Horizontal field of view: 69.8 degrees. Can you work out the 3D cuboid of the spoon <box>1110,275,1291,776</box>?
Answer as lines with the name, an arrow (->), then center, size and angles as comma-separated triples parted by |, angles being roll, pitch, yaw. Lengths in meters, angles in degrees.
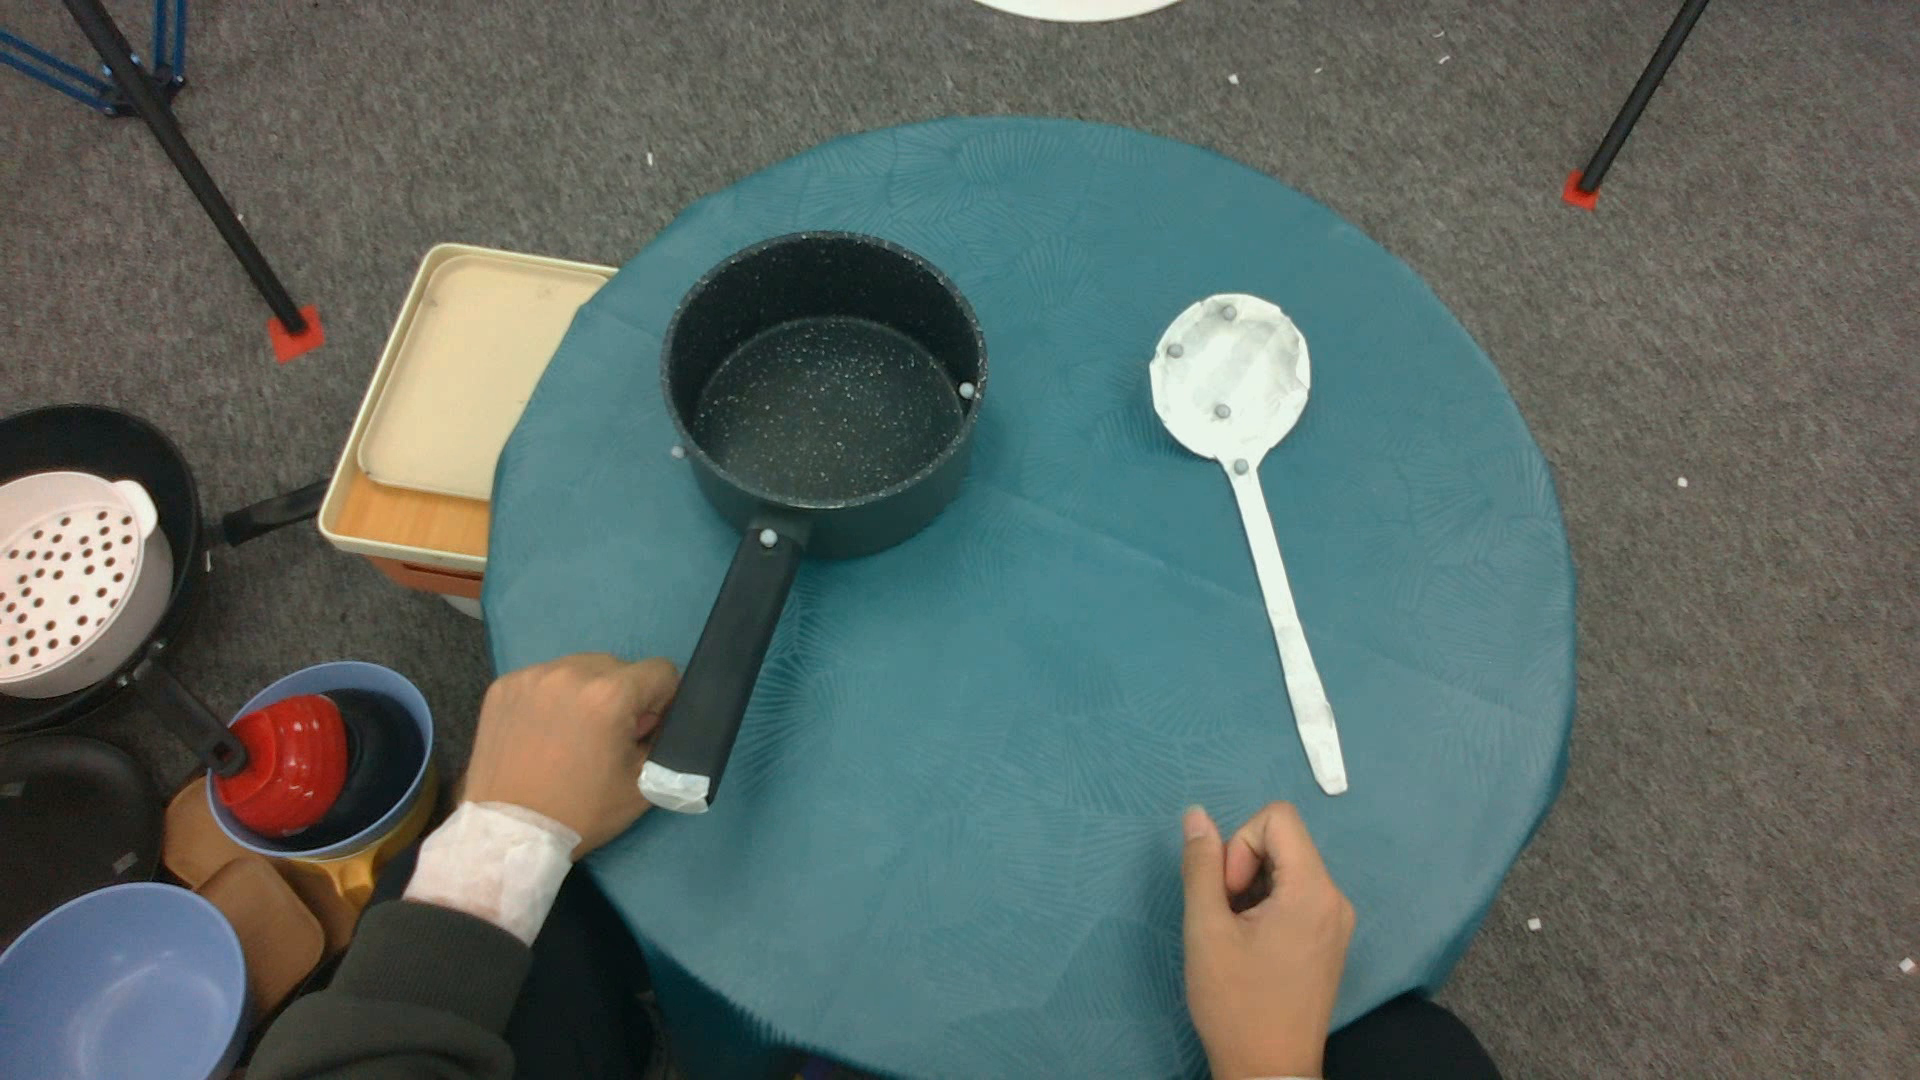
spoon -> 0.144, -0.014, 0.744 | 0.101, 0.059, 0.278 | -5, 64, -5

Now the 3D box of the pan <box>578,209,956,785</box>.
pan -> -0.110, -0.021, 0.712 | 0.172, 0.086, 0.330 | 15, 63, 5
